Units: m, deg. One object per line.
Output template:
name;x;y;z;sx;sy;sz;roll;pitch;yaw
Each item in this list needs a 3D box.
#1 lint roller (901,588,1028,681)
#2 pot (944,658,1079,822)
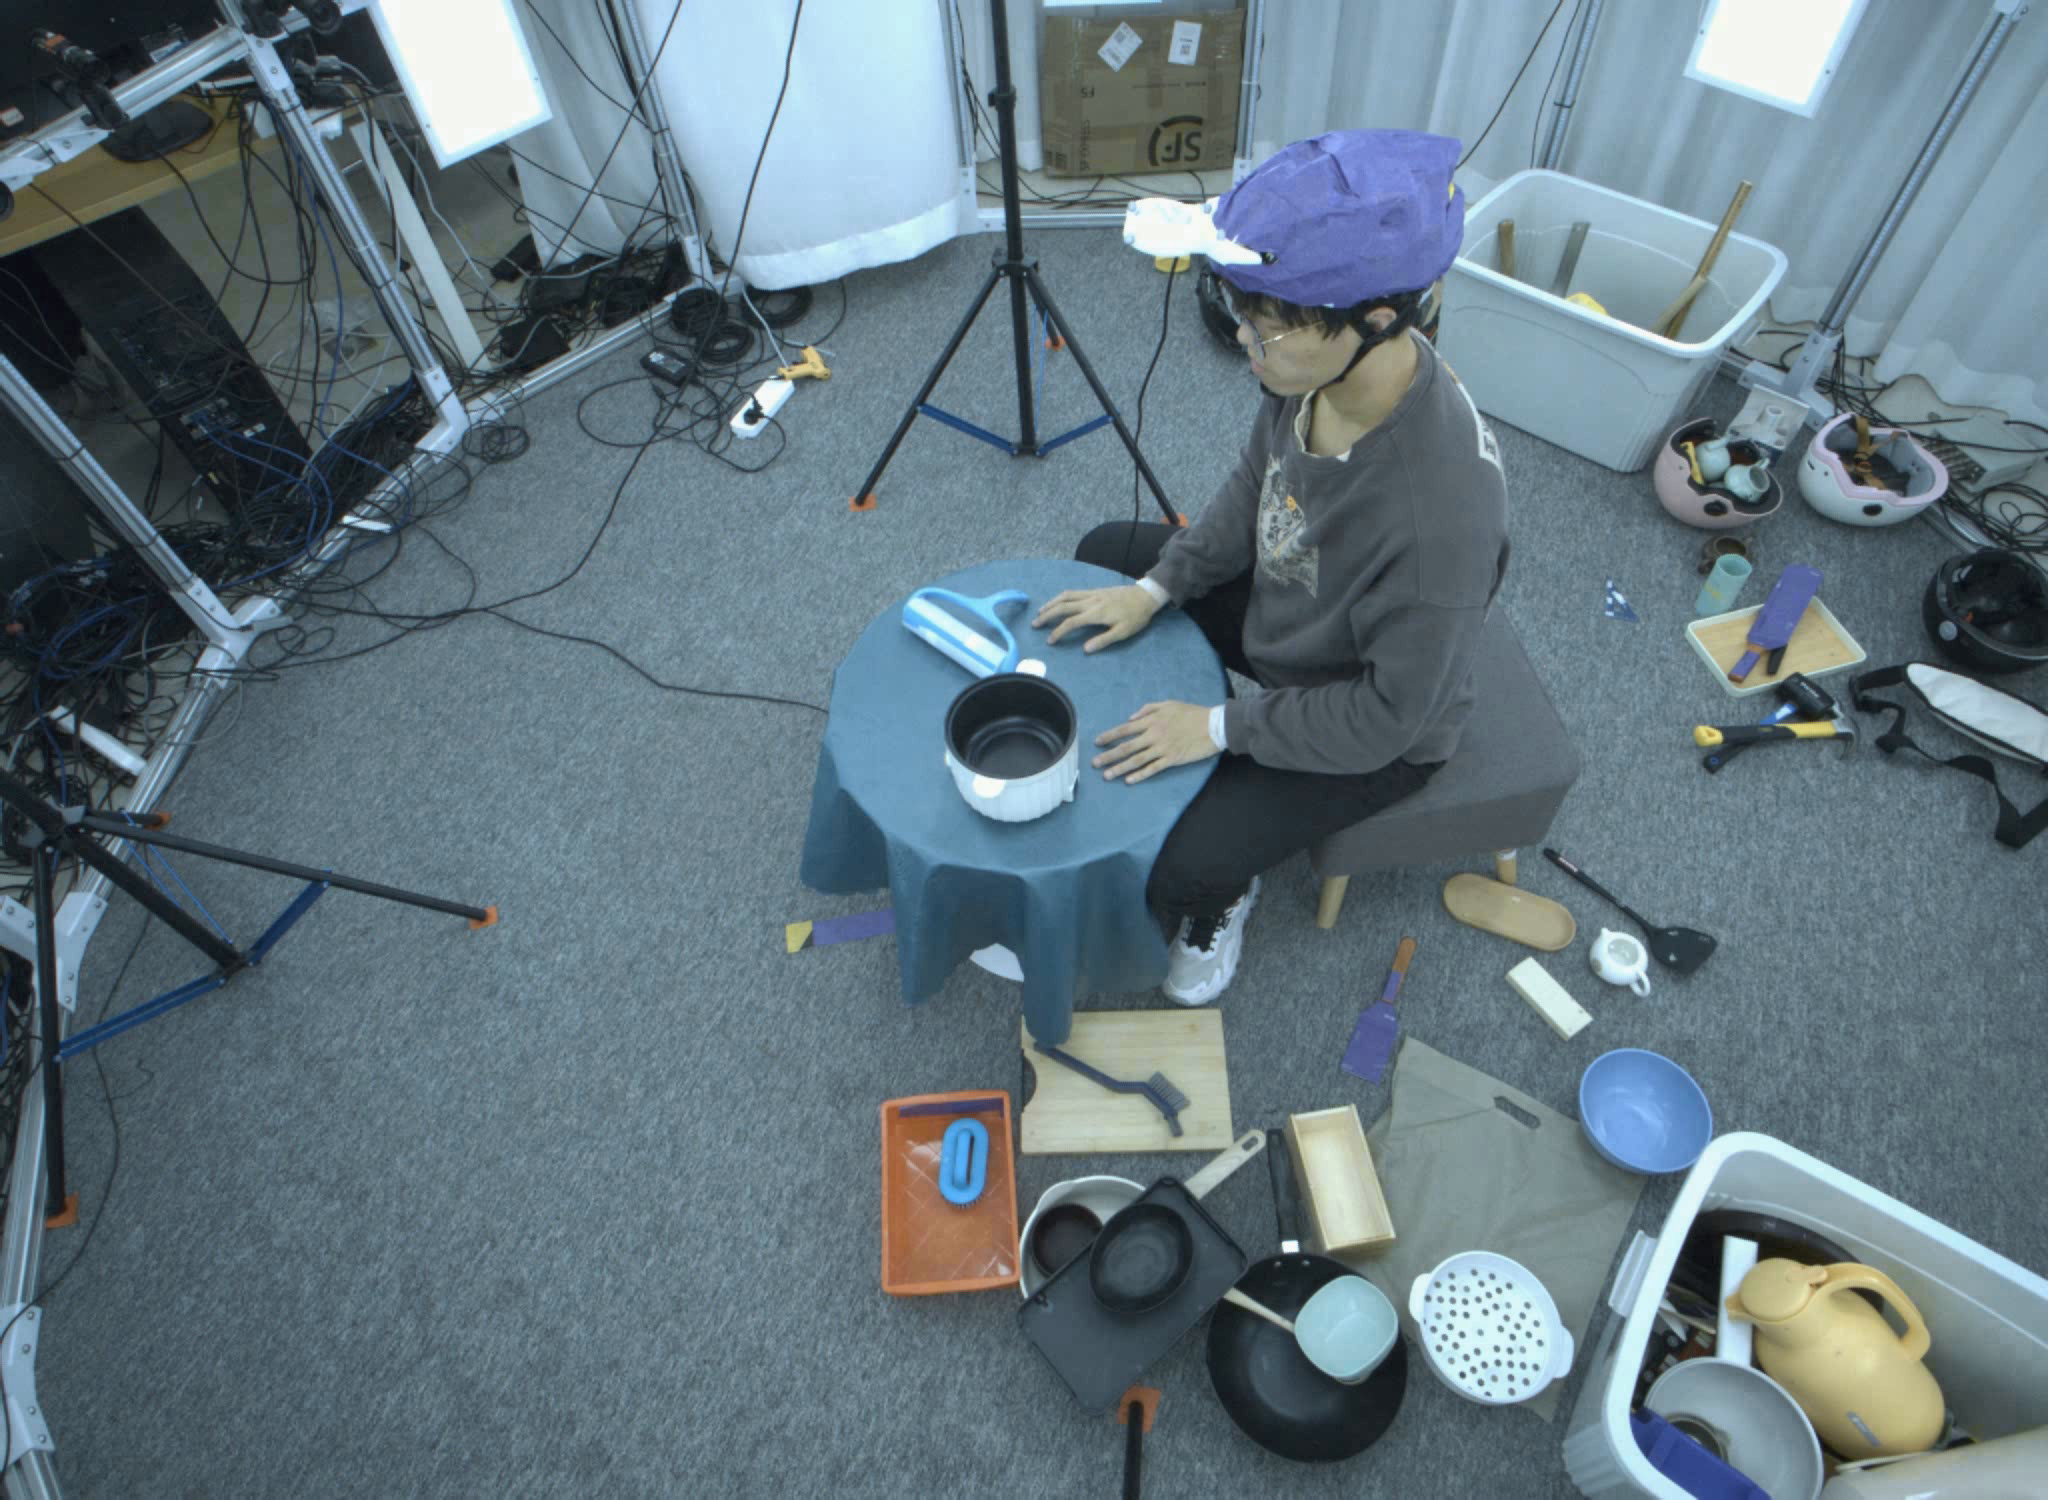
lint roller;-0.064;-0.205;1.899;0.225;0.069;0.181;32;63;24
pot;-0.020;0.003;1.697;0.189;0.144;0.239;13;54;8
